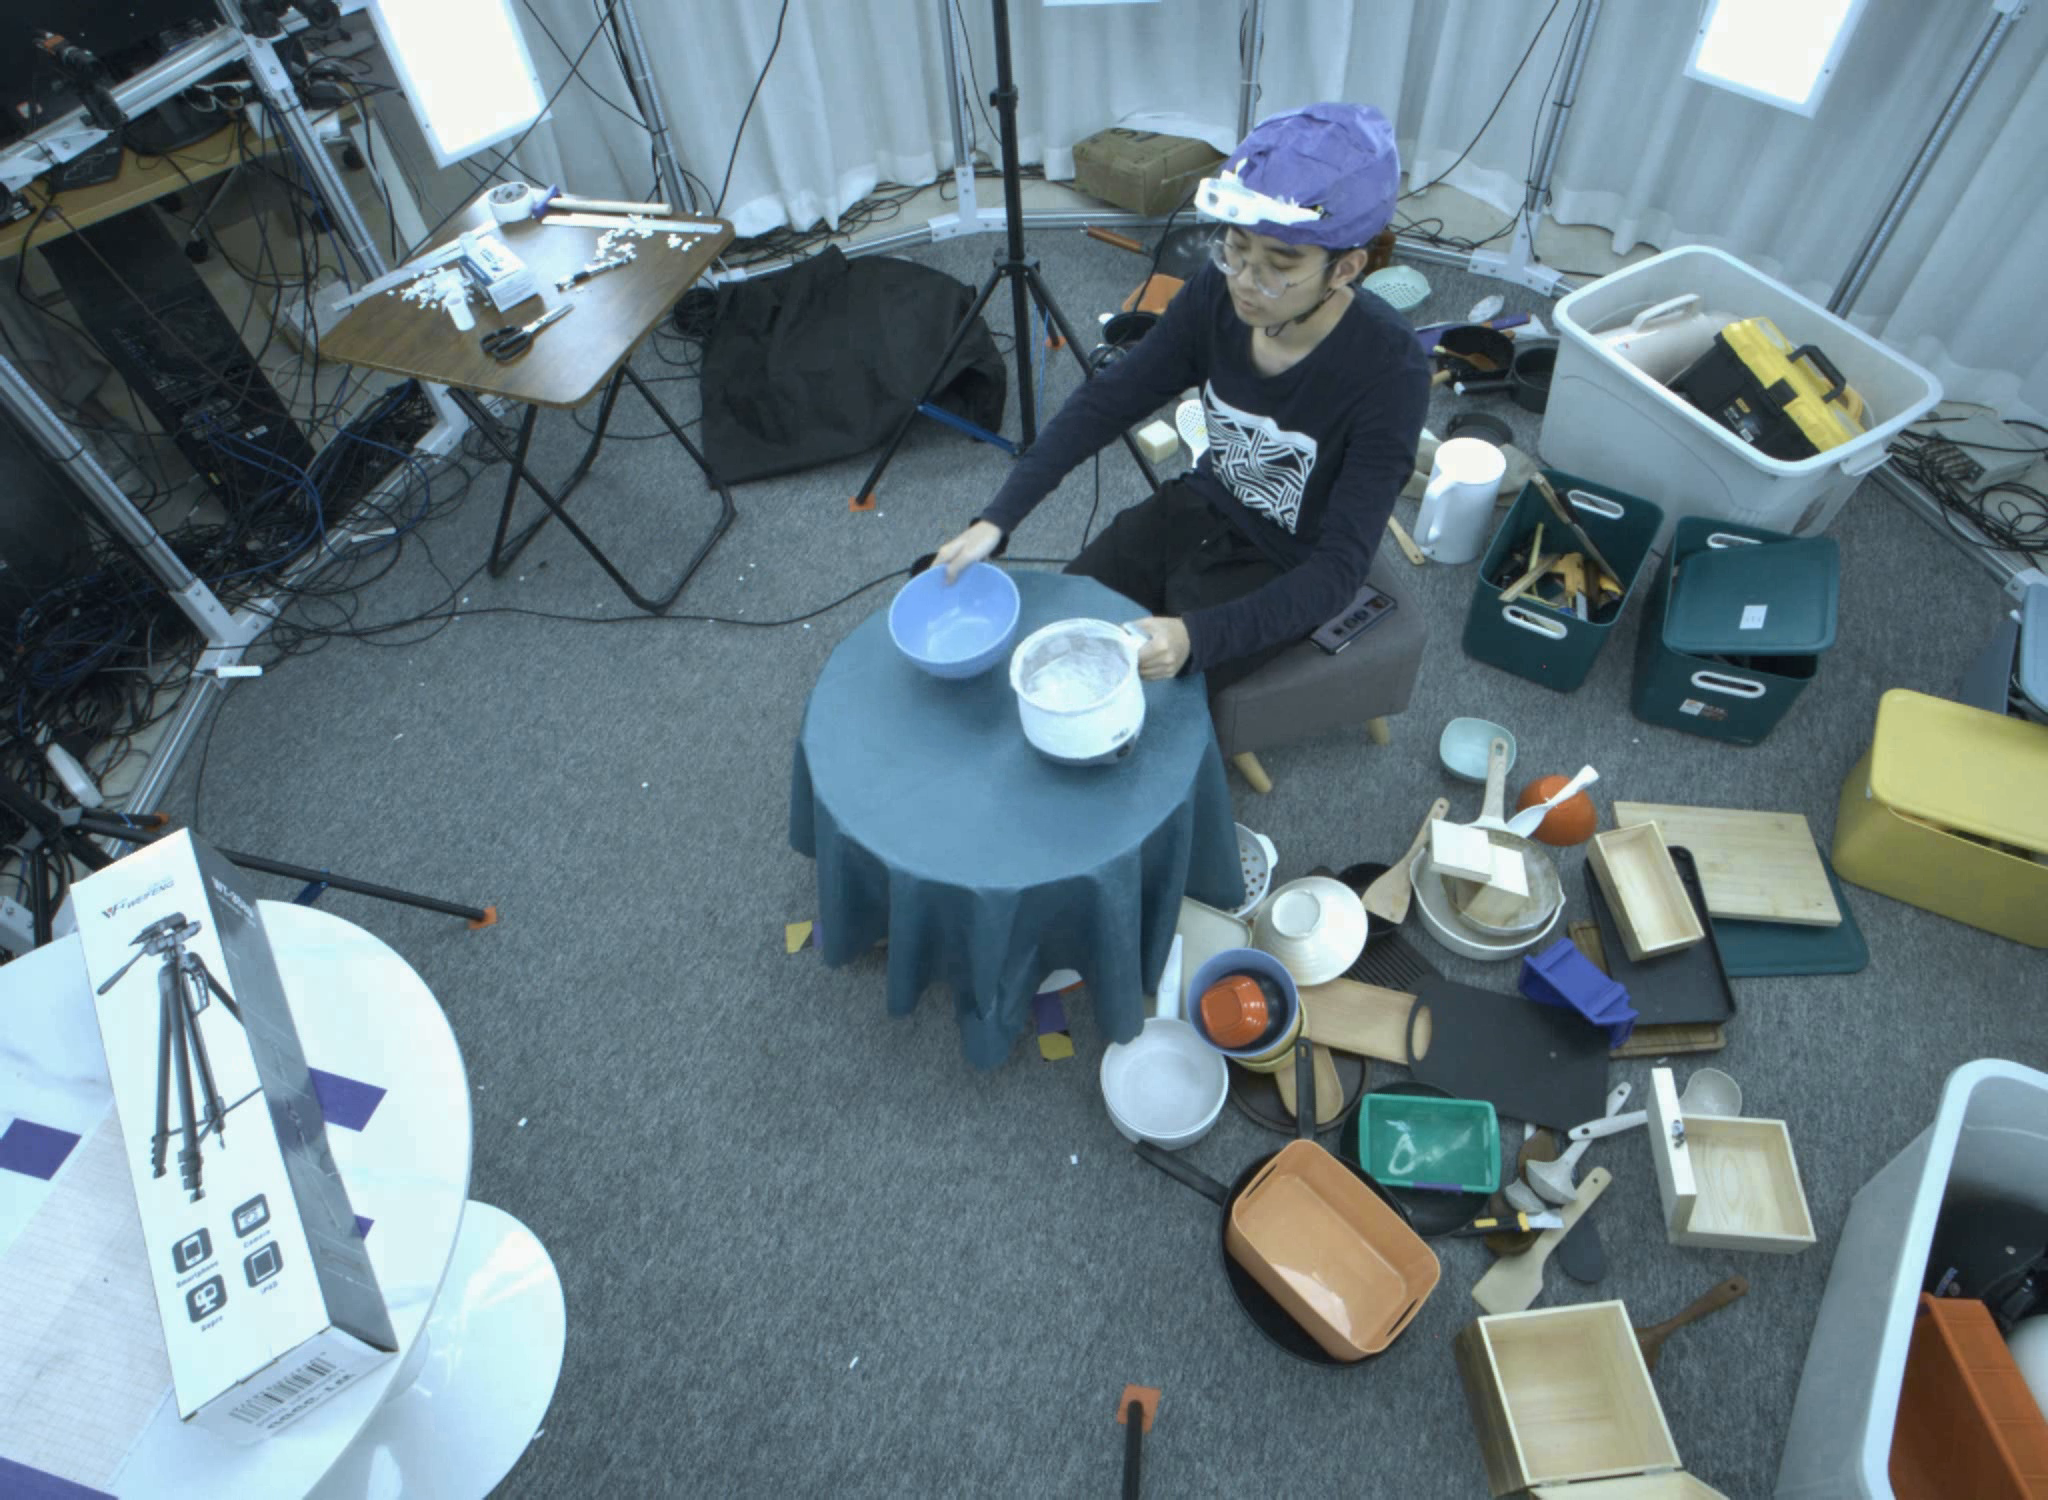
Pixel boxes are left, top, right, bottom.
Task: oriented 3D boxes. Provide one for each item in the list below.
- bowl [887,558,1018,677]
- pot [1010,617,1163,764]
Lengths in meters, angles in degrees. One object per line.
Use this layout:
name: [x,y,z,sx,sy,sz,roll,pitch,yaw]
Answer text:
bowl: [-0.097,-0.182,1.826,0.195,0.097,0.194,-5,56,9]
pot: [0.099,-0.095,1.741,0.235,0.138,0.175,-37,56,-19]
